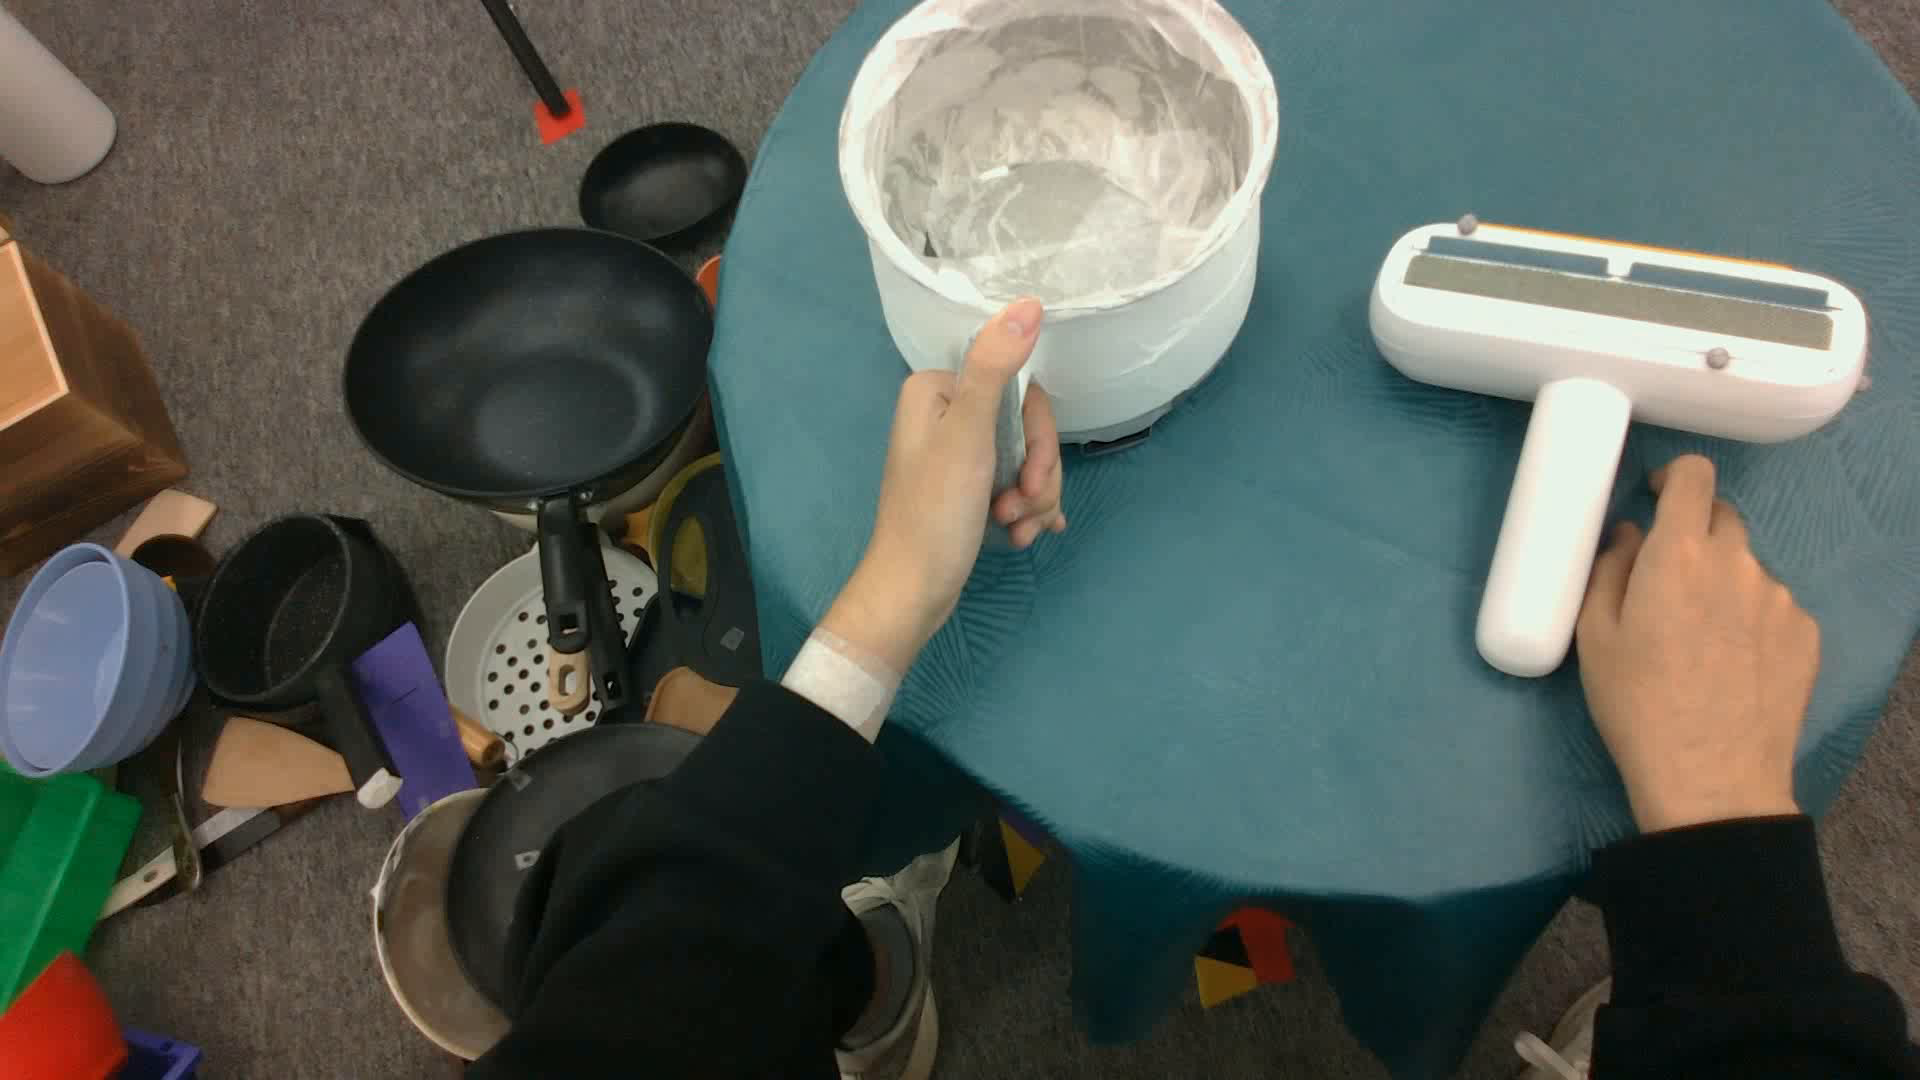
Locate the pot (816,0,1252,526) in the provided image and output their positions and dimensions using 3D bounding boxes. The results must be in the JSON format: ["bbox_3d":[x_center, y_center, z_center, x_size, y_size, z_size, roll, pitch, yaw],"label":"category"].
[{"bbox_3d":[0.029,-0.128,0.605,0.178,0.136,0.234,10,68,12],"label":"pot"}]

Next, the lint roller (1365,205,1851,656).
[{"bbox_3d":[0.251,-0.044,0.587,0.193,0.074,0.193,20,73,19],"label":"lint roller"}]
